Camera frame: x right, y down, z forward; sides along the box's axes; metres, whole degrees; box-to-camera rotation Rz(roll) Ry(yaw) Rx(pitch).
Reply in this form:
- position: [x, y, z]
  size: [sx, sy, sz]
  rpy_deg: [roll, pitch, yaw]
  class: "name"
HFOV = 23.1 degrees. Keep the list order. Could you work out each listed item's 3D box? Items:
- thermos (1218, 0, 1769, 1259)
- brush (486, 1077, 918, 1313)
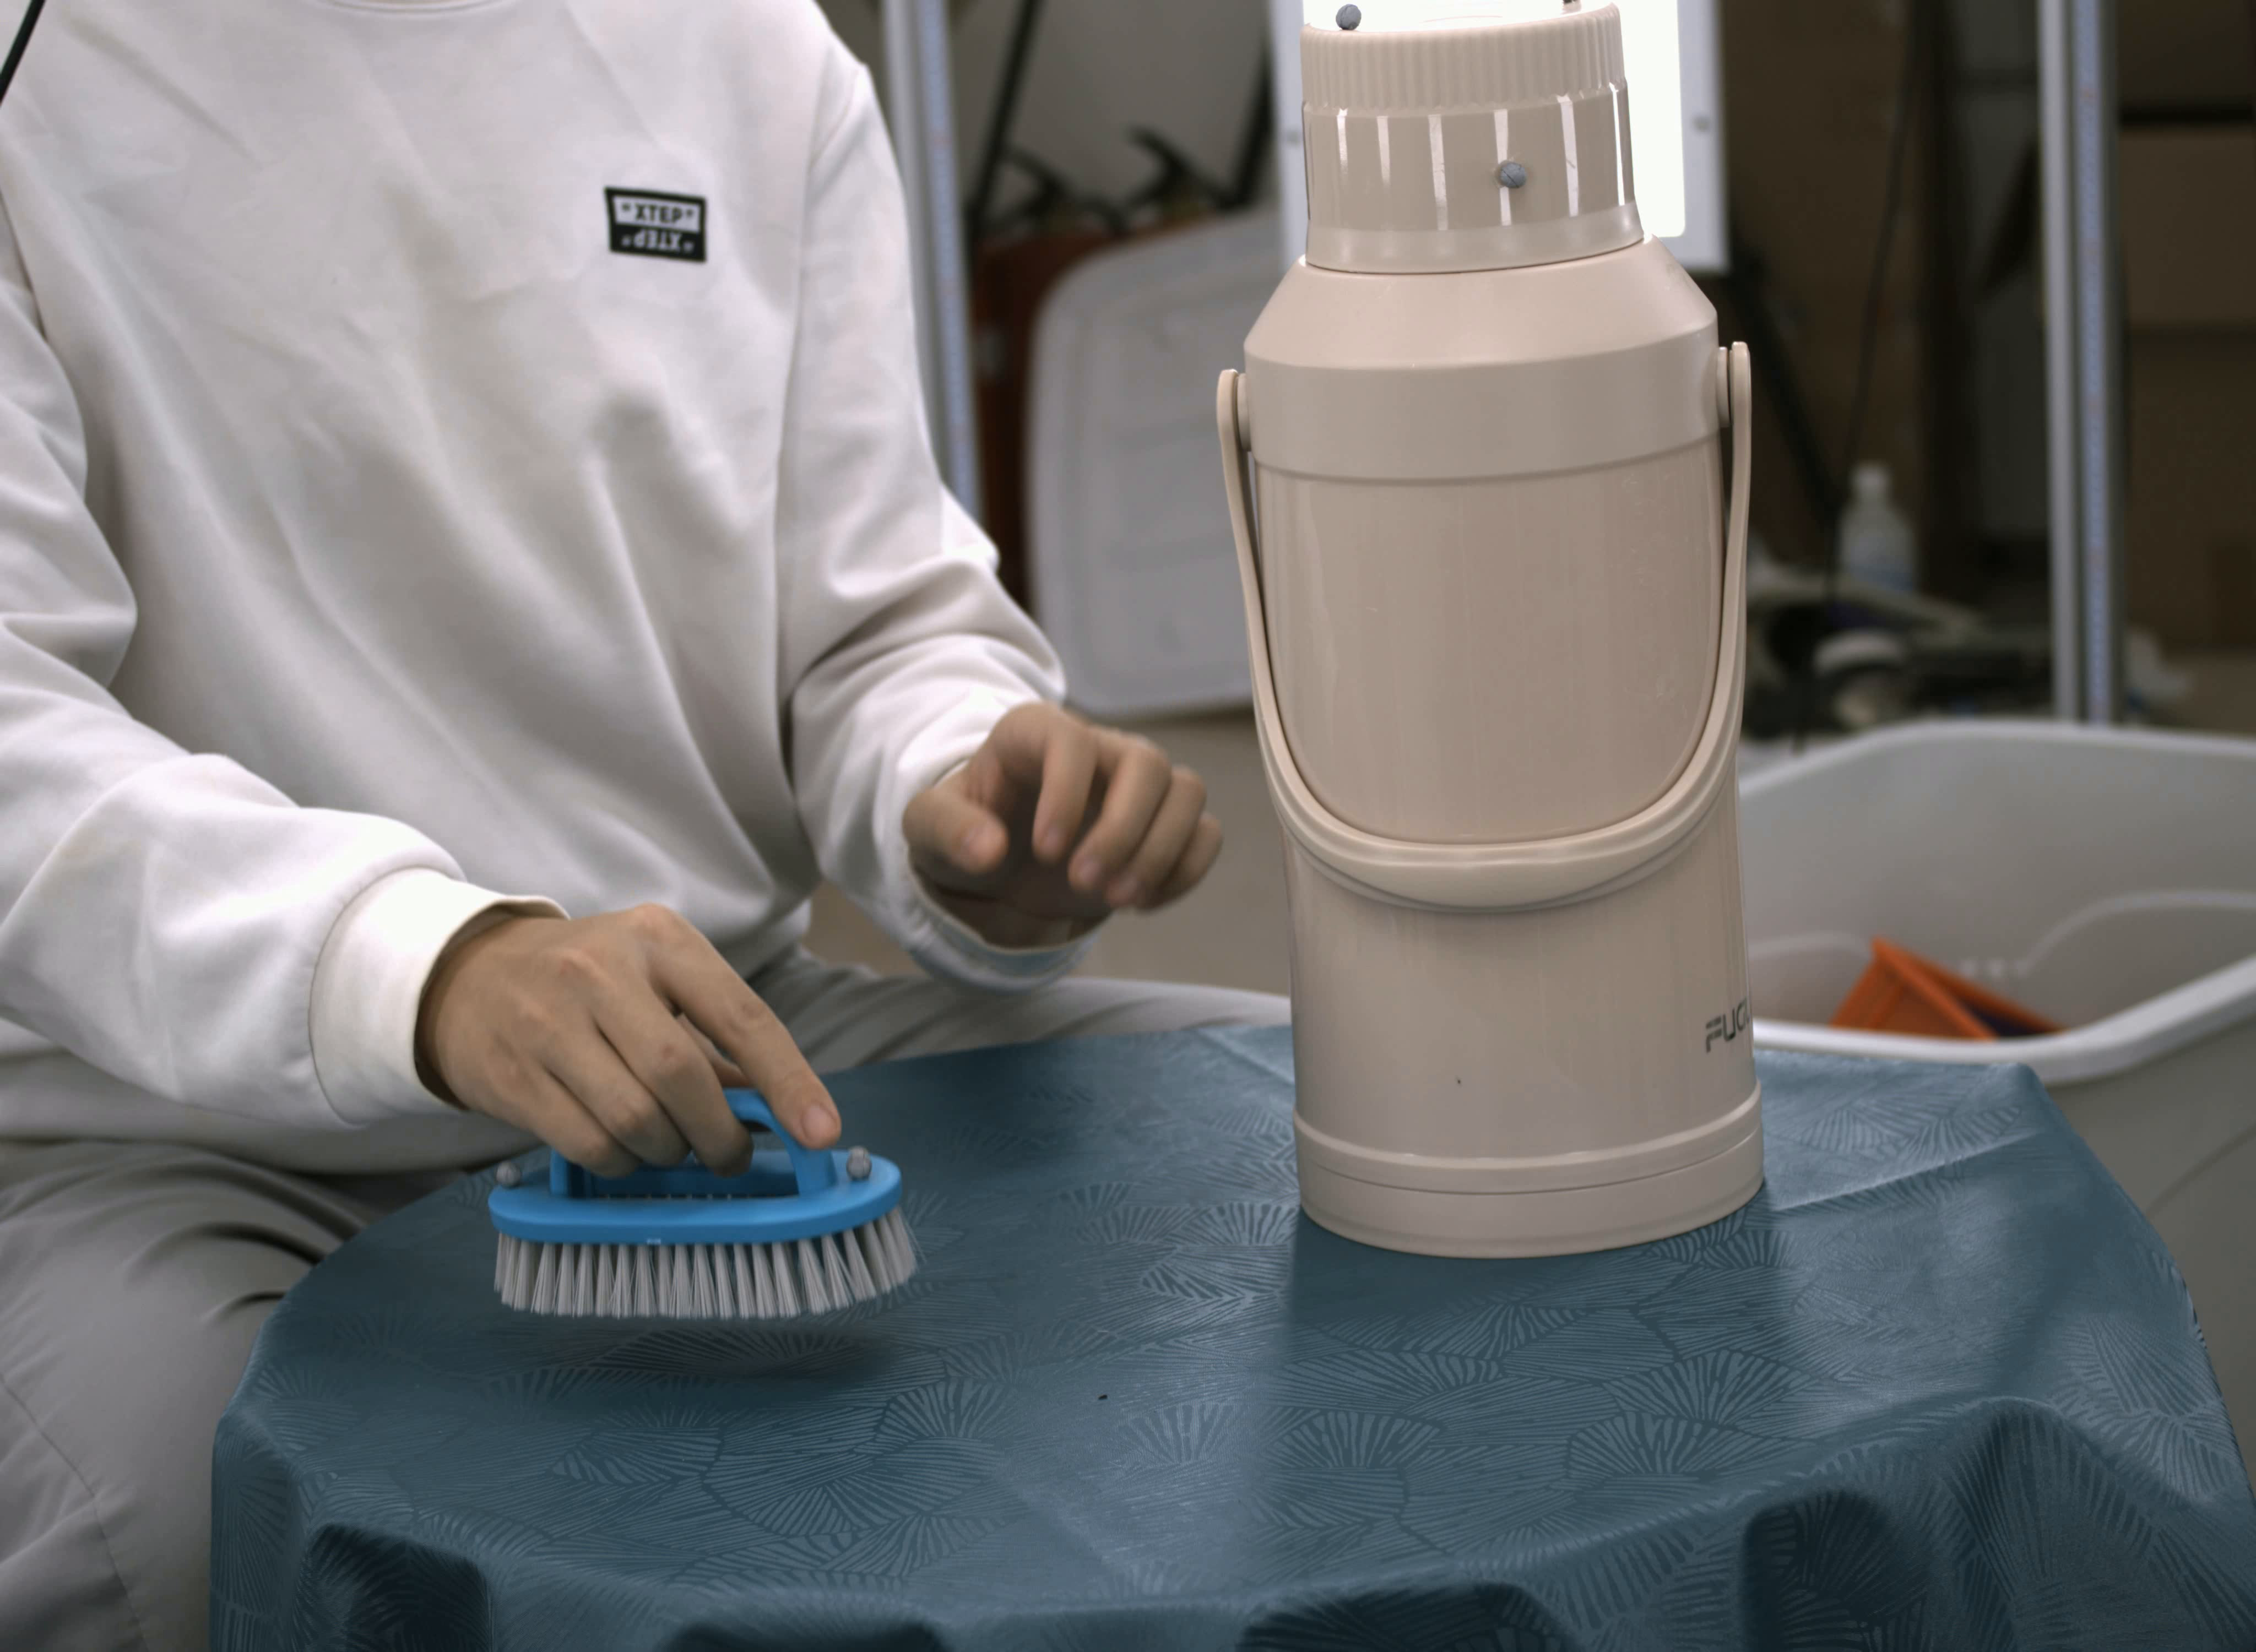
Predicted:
- position: [0.127, -0.074, 1.833]
  size: [0.176, 0.408, 0.205]
  rpy_deg: [-4, 13, 9]
  class: "thermos"
- position: [-0.140, 0.111, 1.757]
  size: [0.144, 0.064, 0.083]
  rpy_deg: [-1, 18, 21]
  class: "brush"
